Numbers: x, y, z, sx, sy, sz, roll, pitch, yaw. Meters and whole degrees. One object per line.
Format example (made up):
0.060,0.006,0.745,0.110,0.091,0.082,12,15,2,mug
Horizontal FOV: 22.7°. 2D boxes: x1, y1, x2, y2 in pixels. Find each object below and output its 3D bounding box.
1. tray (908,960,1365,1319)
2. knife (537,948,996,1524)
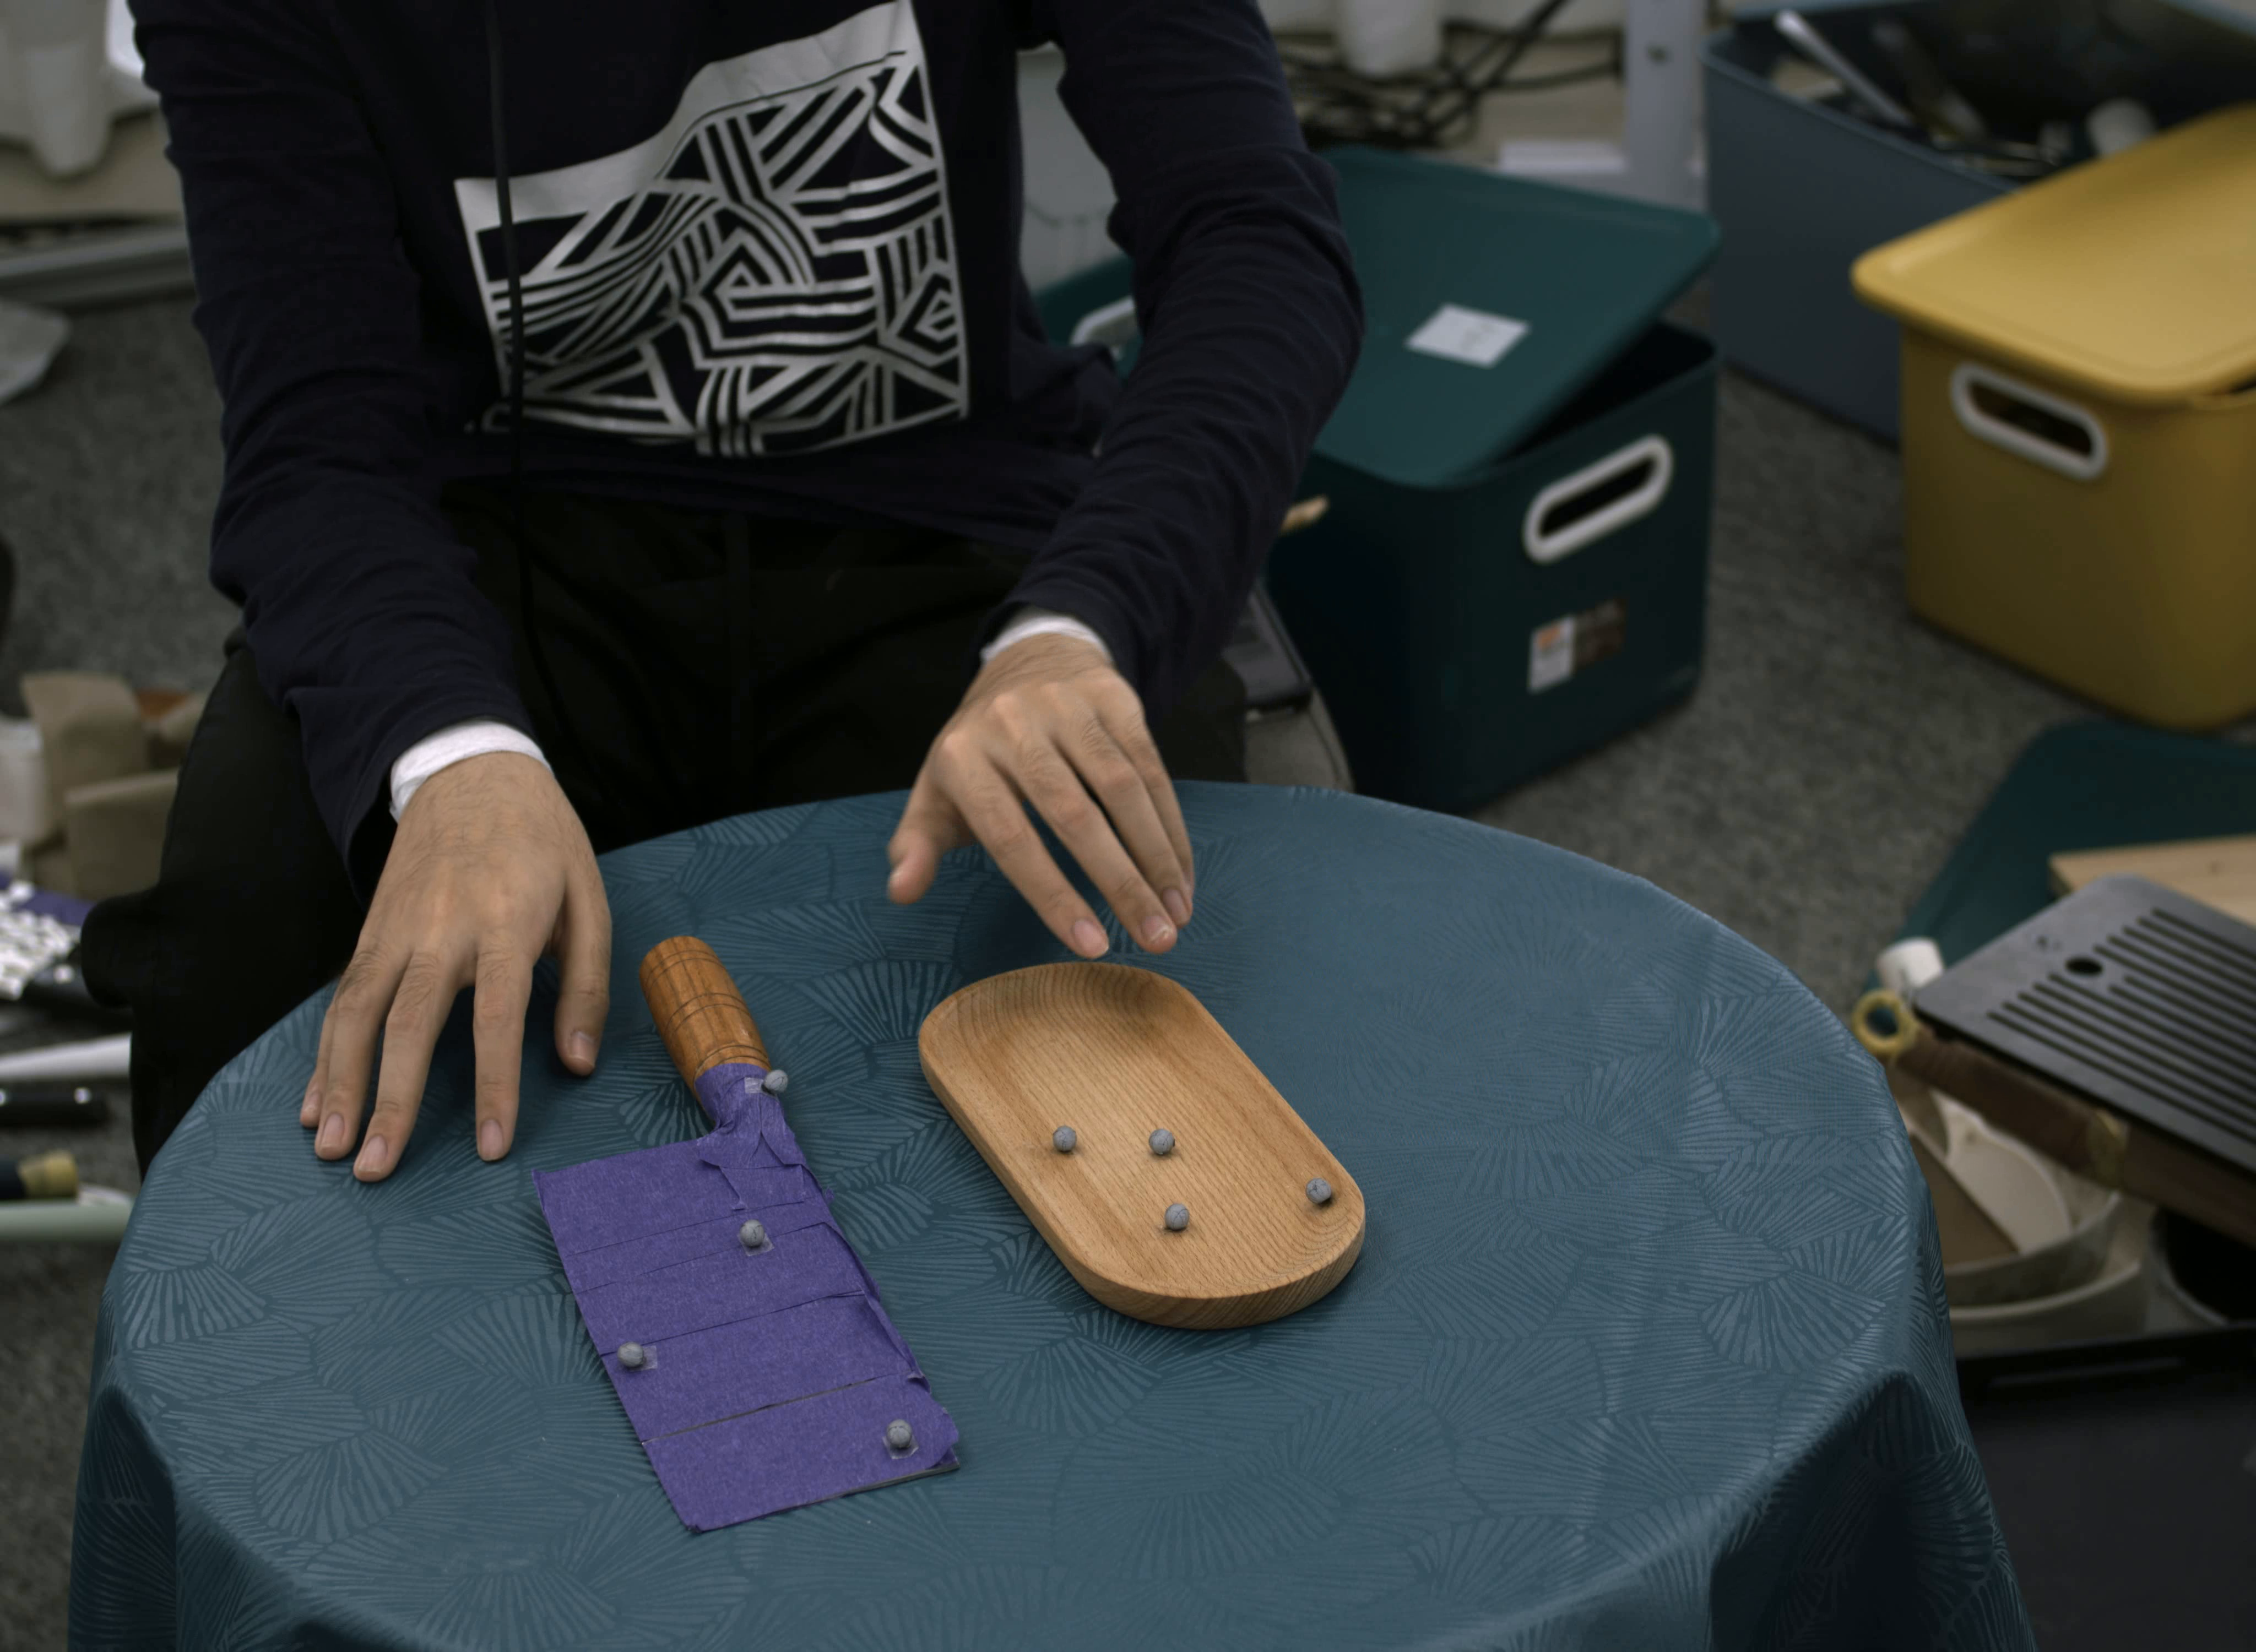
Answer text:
0.001,0.103,1.880,0.102,0.020,0.232,-13,27,-20,tray
-0.139,0.129,1.832,0.104,0.032,0.318,-11,29,-16,knife
